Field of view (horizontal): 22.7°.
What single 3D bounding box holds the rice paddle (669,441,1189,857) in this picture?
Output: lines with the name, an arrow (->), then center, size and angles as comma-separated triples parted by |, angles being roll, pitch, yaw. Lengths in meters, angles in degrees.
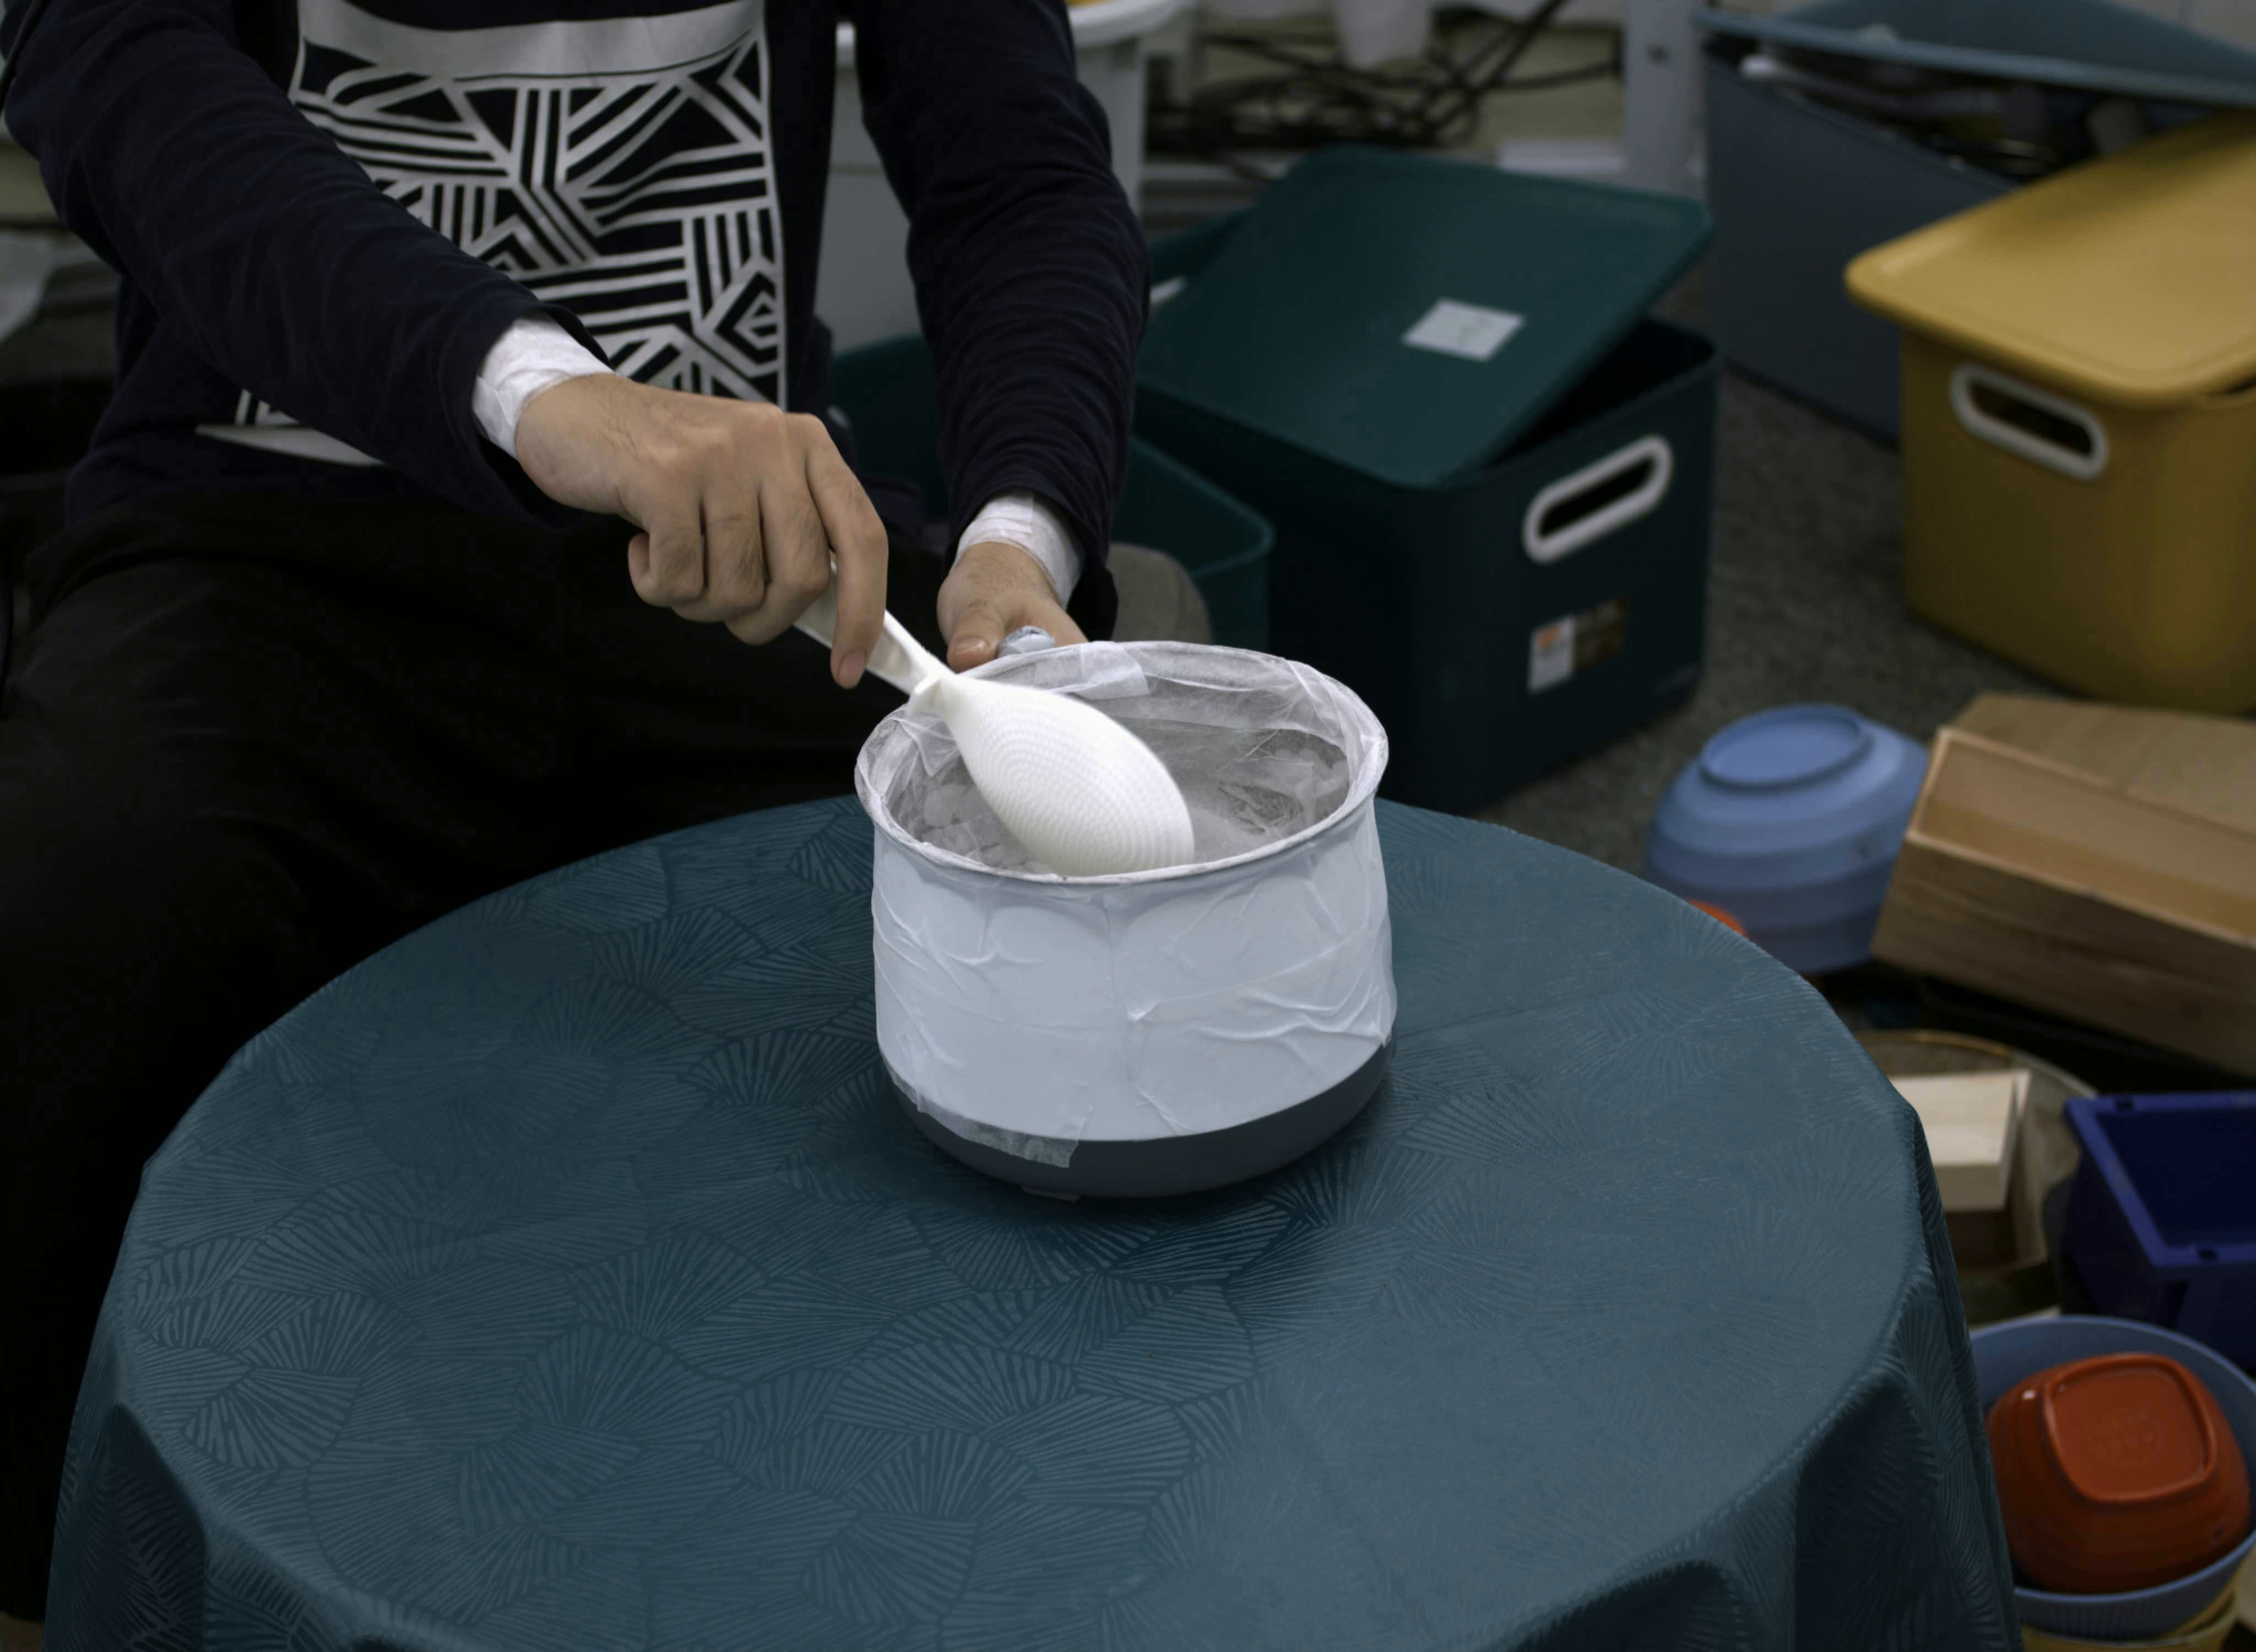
rice paddle -> -0.062, -0.058, 1.845 | 0.205, 0.067, 0.030 | 35, 38, 14

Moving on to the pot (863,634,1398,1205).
pot -> -0.008, 0.025, 1.910 | 0.179, 0.135, 0.235 | -10, 26, -17
